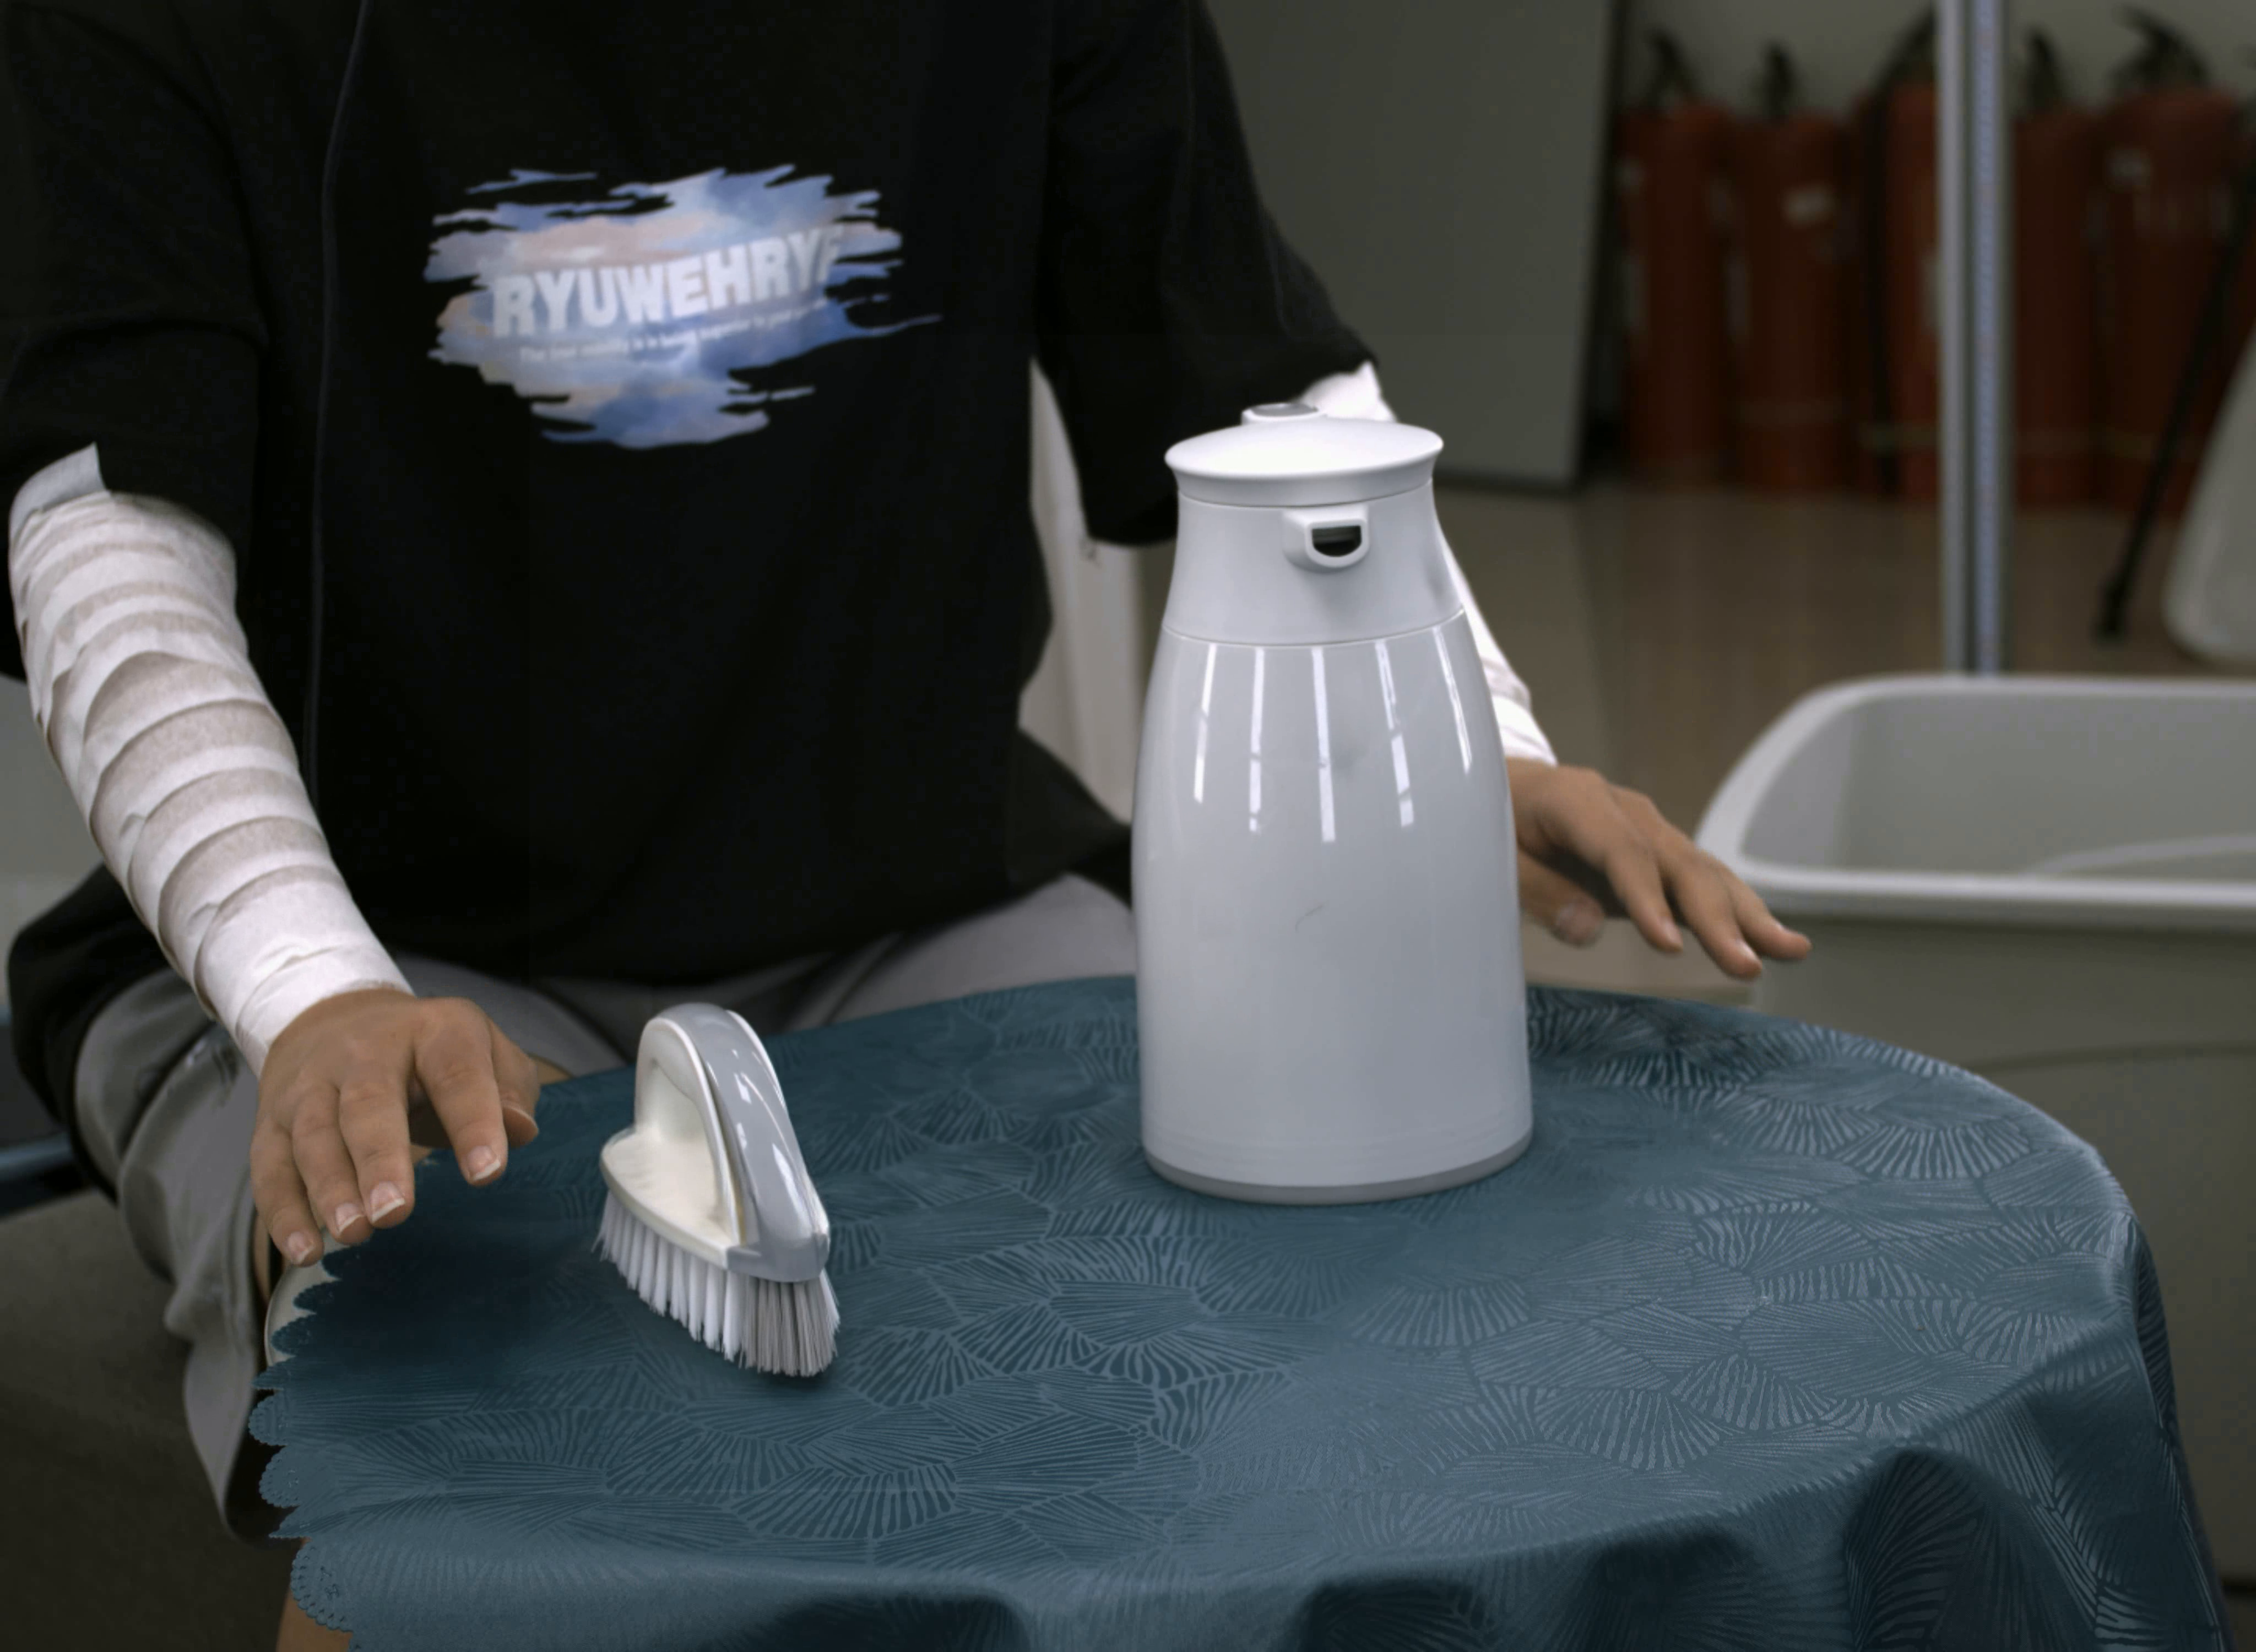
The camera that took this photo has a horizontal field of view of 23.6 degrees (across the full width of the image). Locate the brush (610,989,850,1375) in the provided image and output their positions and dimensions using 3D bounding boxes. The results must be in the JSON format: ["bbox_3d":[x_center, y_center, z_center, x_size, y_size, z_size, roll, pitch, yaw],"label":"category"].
[{"bbox_3d":[-0.120,0.106,1.676,0.060,0.095,0.177,-9,15,-15],"label":"brush"}]

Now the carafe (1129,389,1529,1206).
[{"bbox_3d":[0.059,-0.017,1.797,0.130,0.251,0.168,-6,12,-7],"label":"carafe"}]
